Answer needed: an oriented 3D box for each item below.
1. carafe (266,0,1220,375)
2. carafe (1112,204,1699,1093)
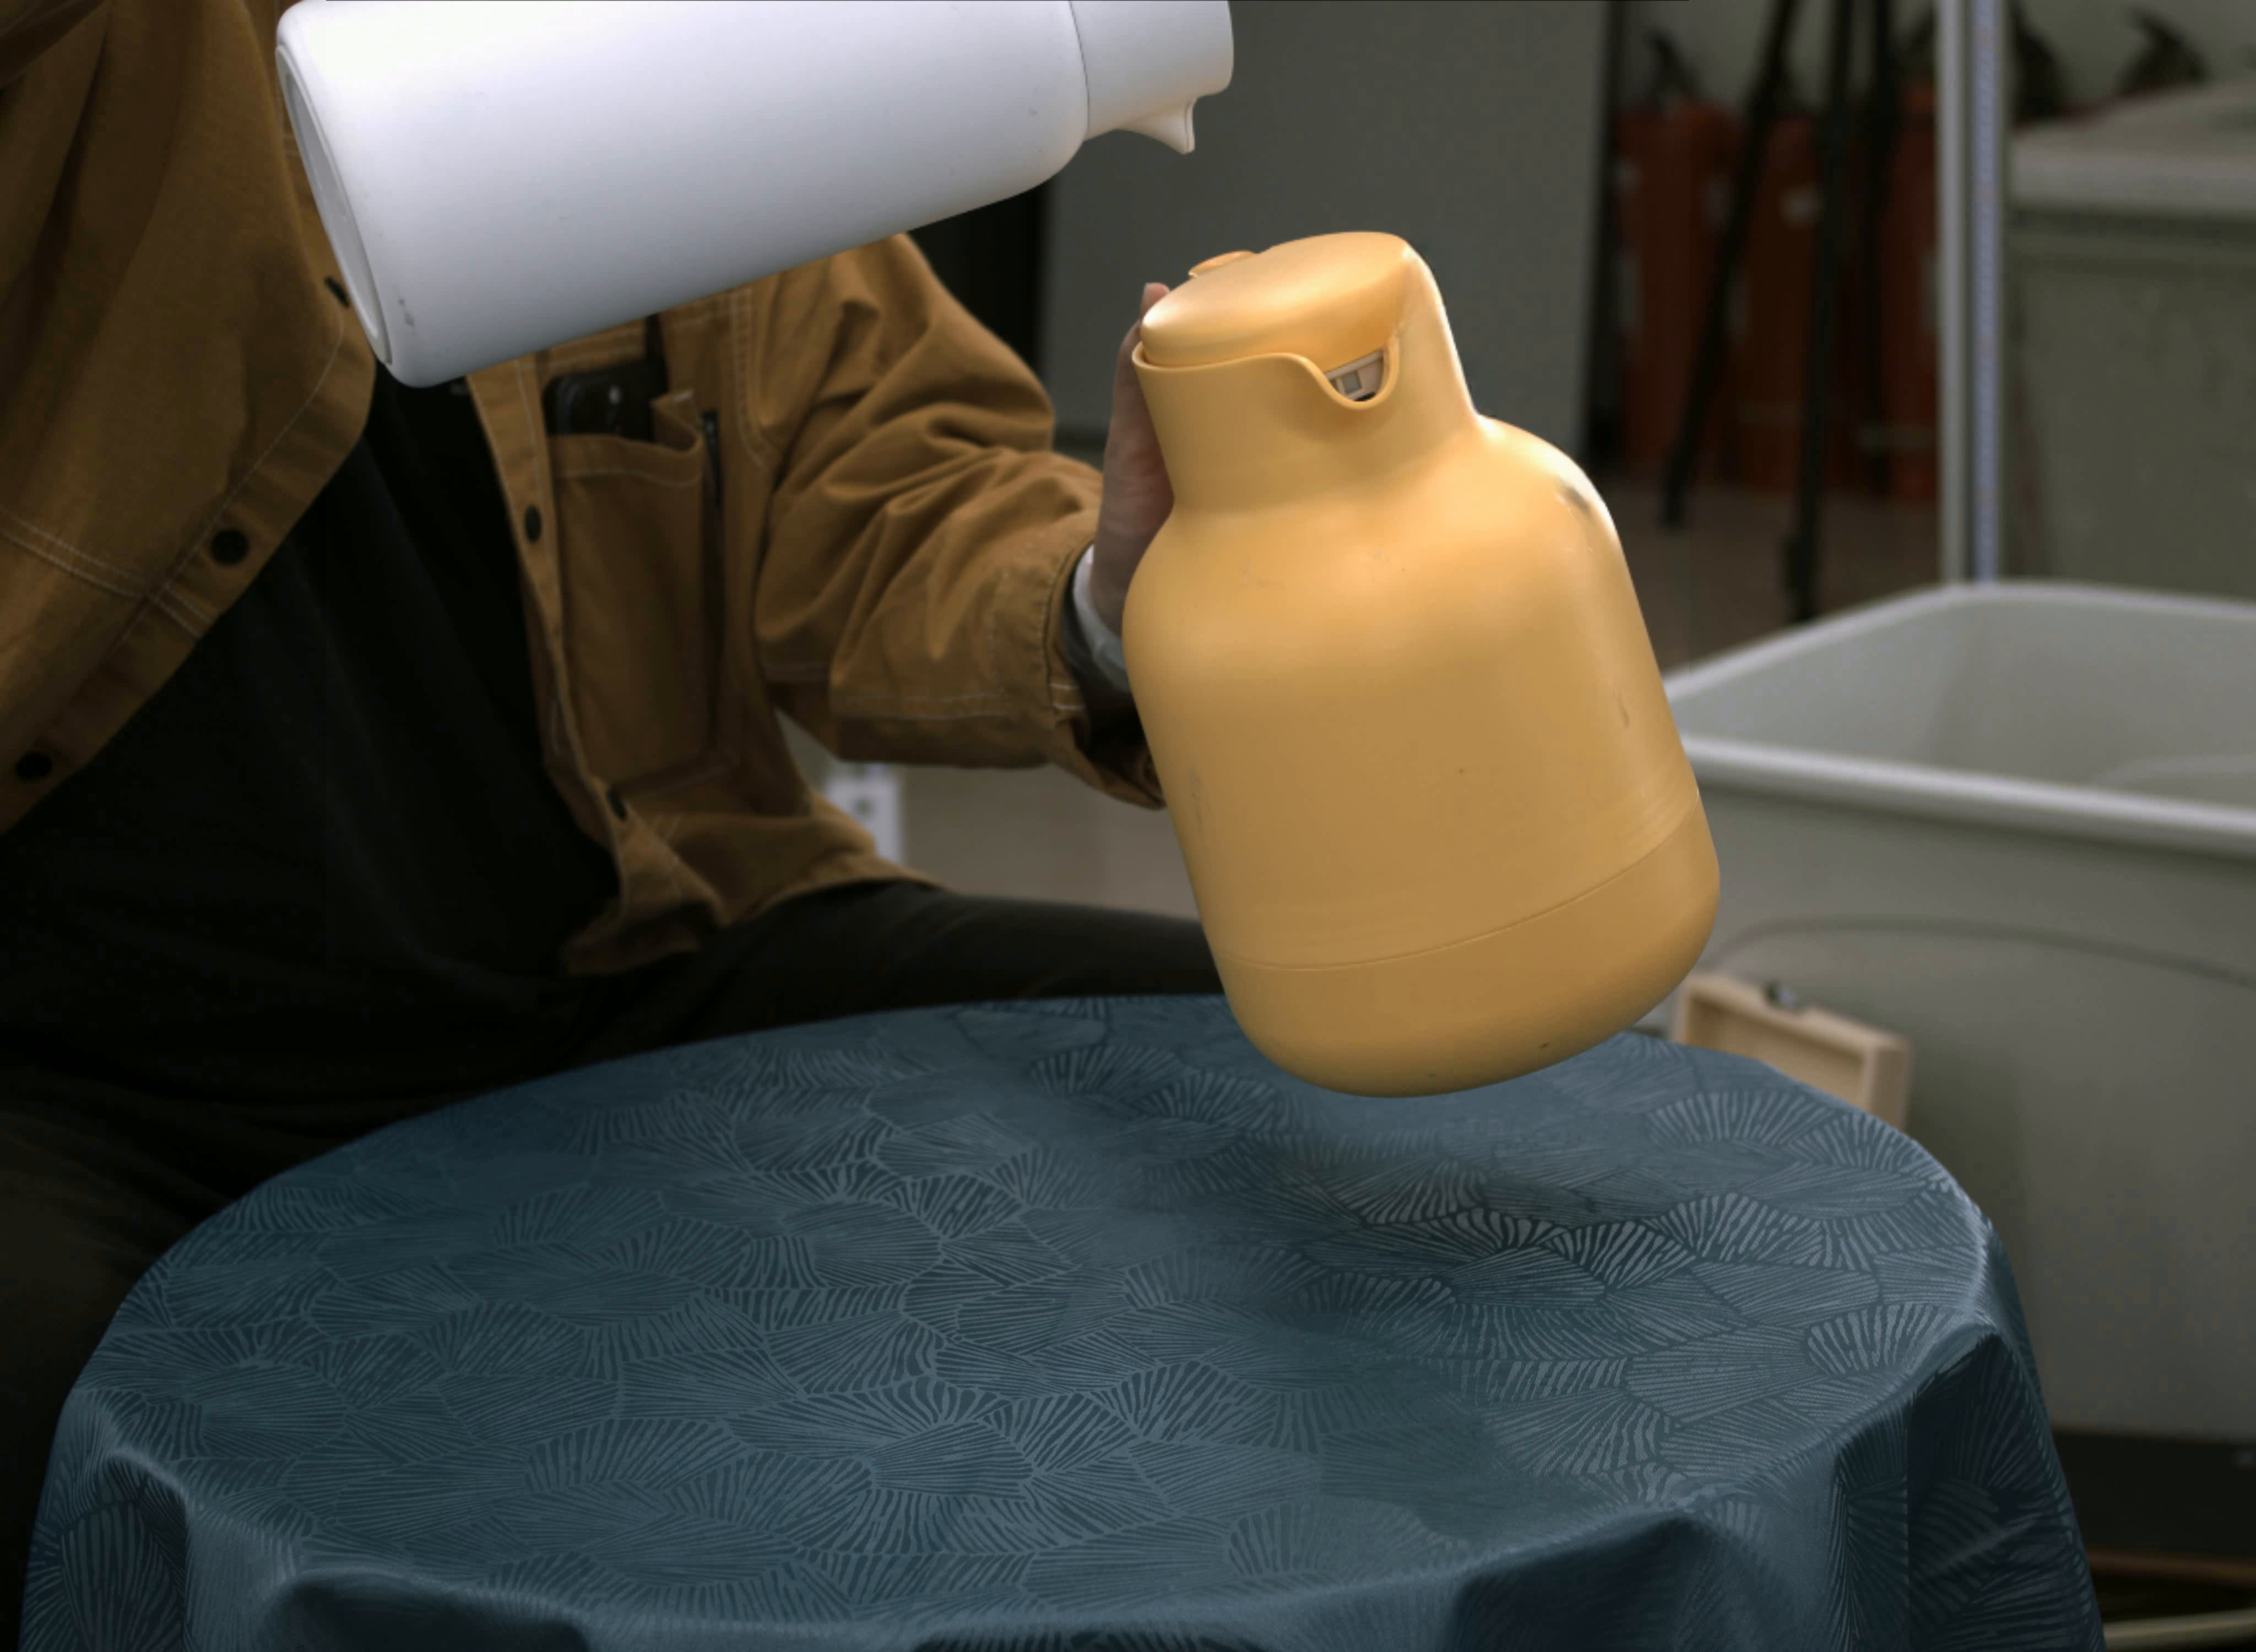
[{"bbox_3d":[-0.114,-0.242,1.577,0.265,0.173,0.125,-19,32,-7],"label":"carafe"},{"bbox_3d":[0.073,-0.064,1.697,0.161,0.262,0.204,-18,18,-8],"label":"carafe"}]
